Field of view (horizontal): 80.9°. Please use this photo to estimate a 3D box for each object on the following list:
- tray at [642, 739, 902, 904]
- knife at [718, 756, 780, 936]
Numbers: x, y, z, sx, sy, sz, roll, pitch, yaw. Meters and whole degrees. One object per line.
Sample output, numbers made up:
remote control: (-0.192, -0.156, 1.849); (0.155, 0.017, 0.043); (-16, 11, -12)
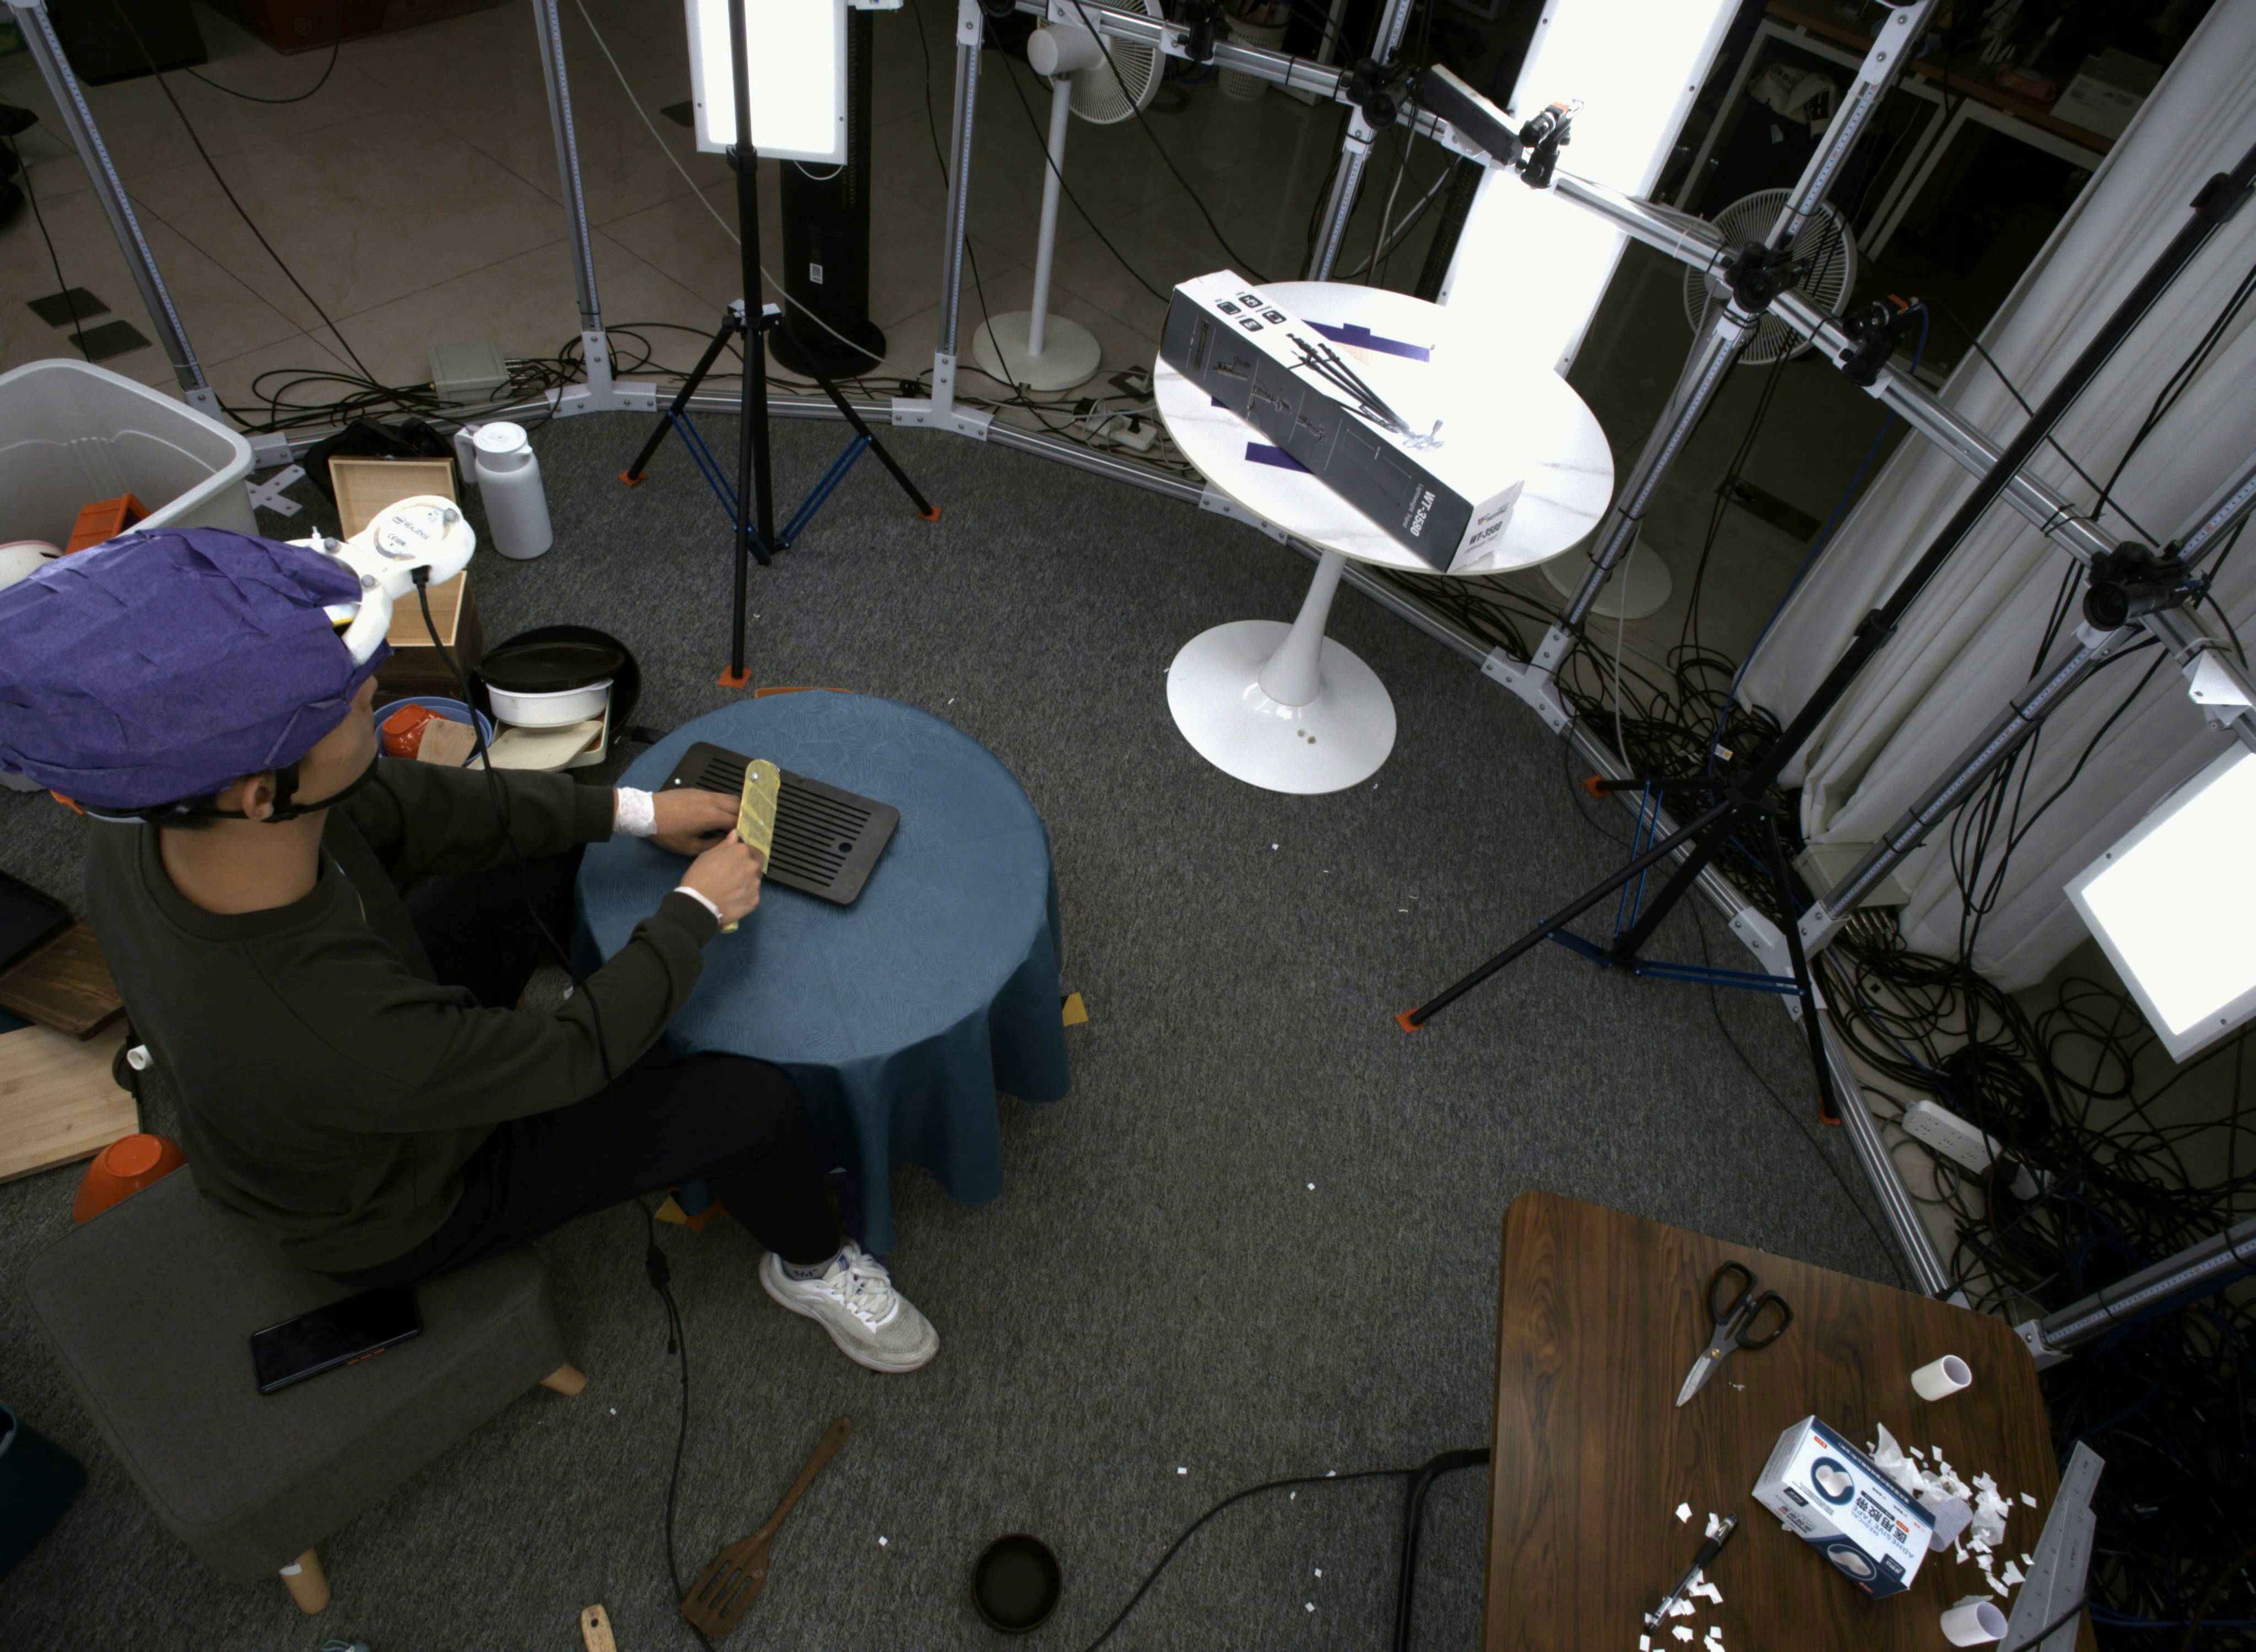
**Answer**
tray: (-0.470, -0.008, 1.717); (0.303, 0.019, 0.168); (19, 52, 1)
knife: (-0.477, 0.022, 1.642); (0.026, 0.084, 0.284); (-14, 49, 18)
